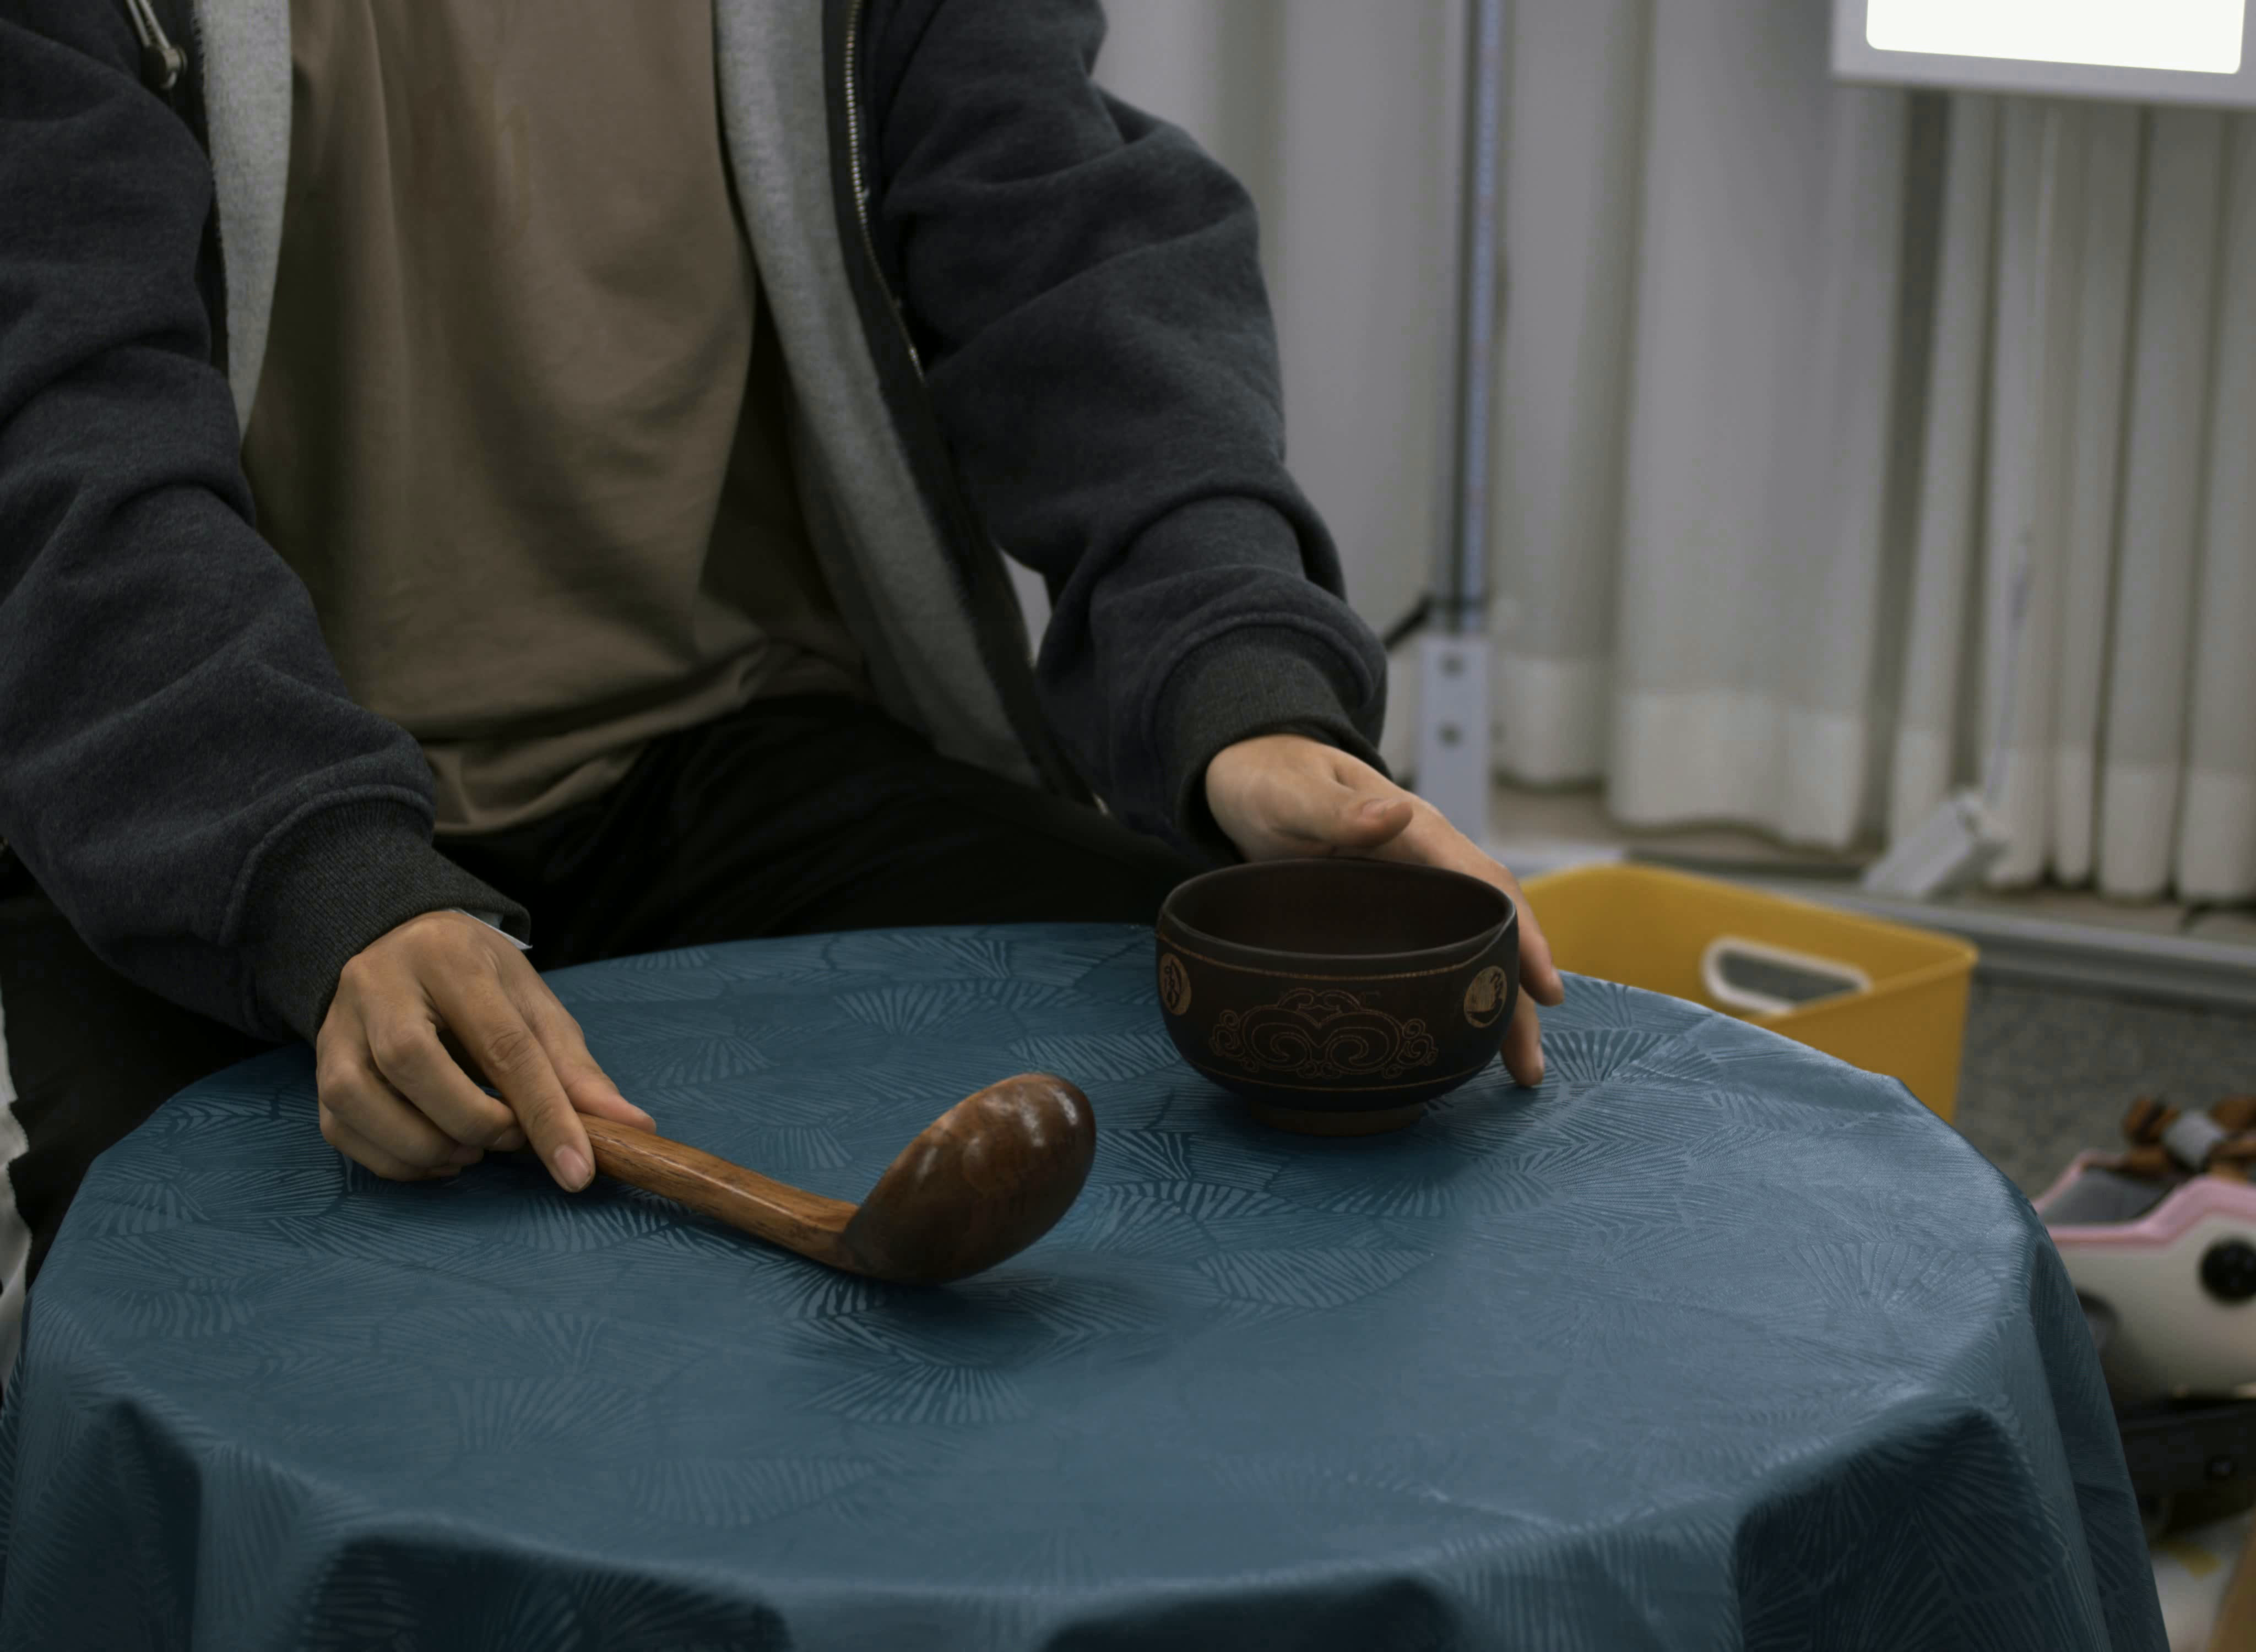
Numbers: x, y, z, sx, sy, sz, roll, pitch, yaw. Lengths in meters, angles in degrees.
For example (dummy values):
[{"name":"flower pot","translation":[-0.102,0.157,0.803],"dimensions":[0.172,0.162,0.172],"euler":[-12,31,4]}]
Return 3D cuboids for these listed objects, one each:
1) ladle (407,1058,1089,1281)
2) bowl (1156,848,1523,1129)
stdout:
[{"name":"ladle","translation":[-0.125,0.081,1.582],"dimensions":[0.270,0.077,0.082],"euler":[14,15,40]},{"name":"bowl","translation":[0.068,0.056,1.690],"dimensions":[0.117,0.070,0.117],"euler":[0,16,0]}]
